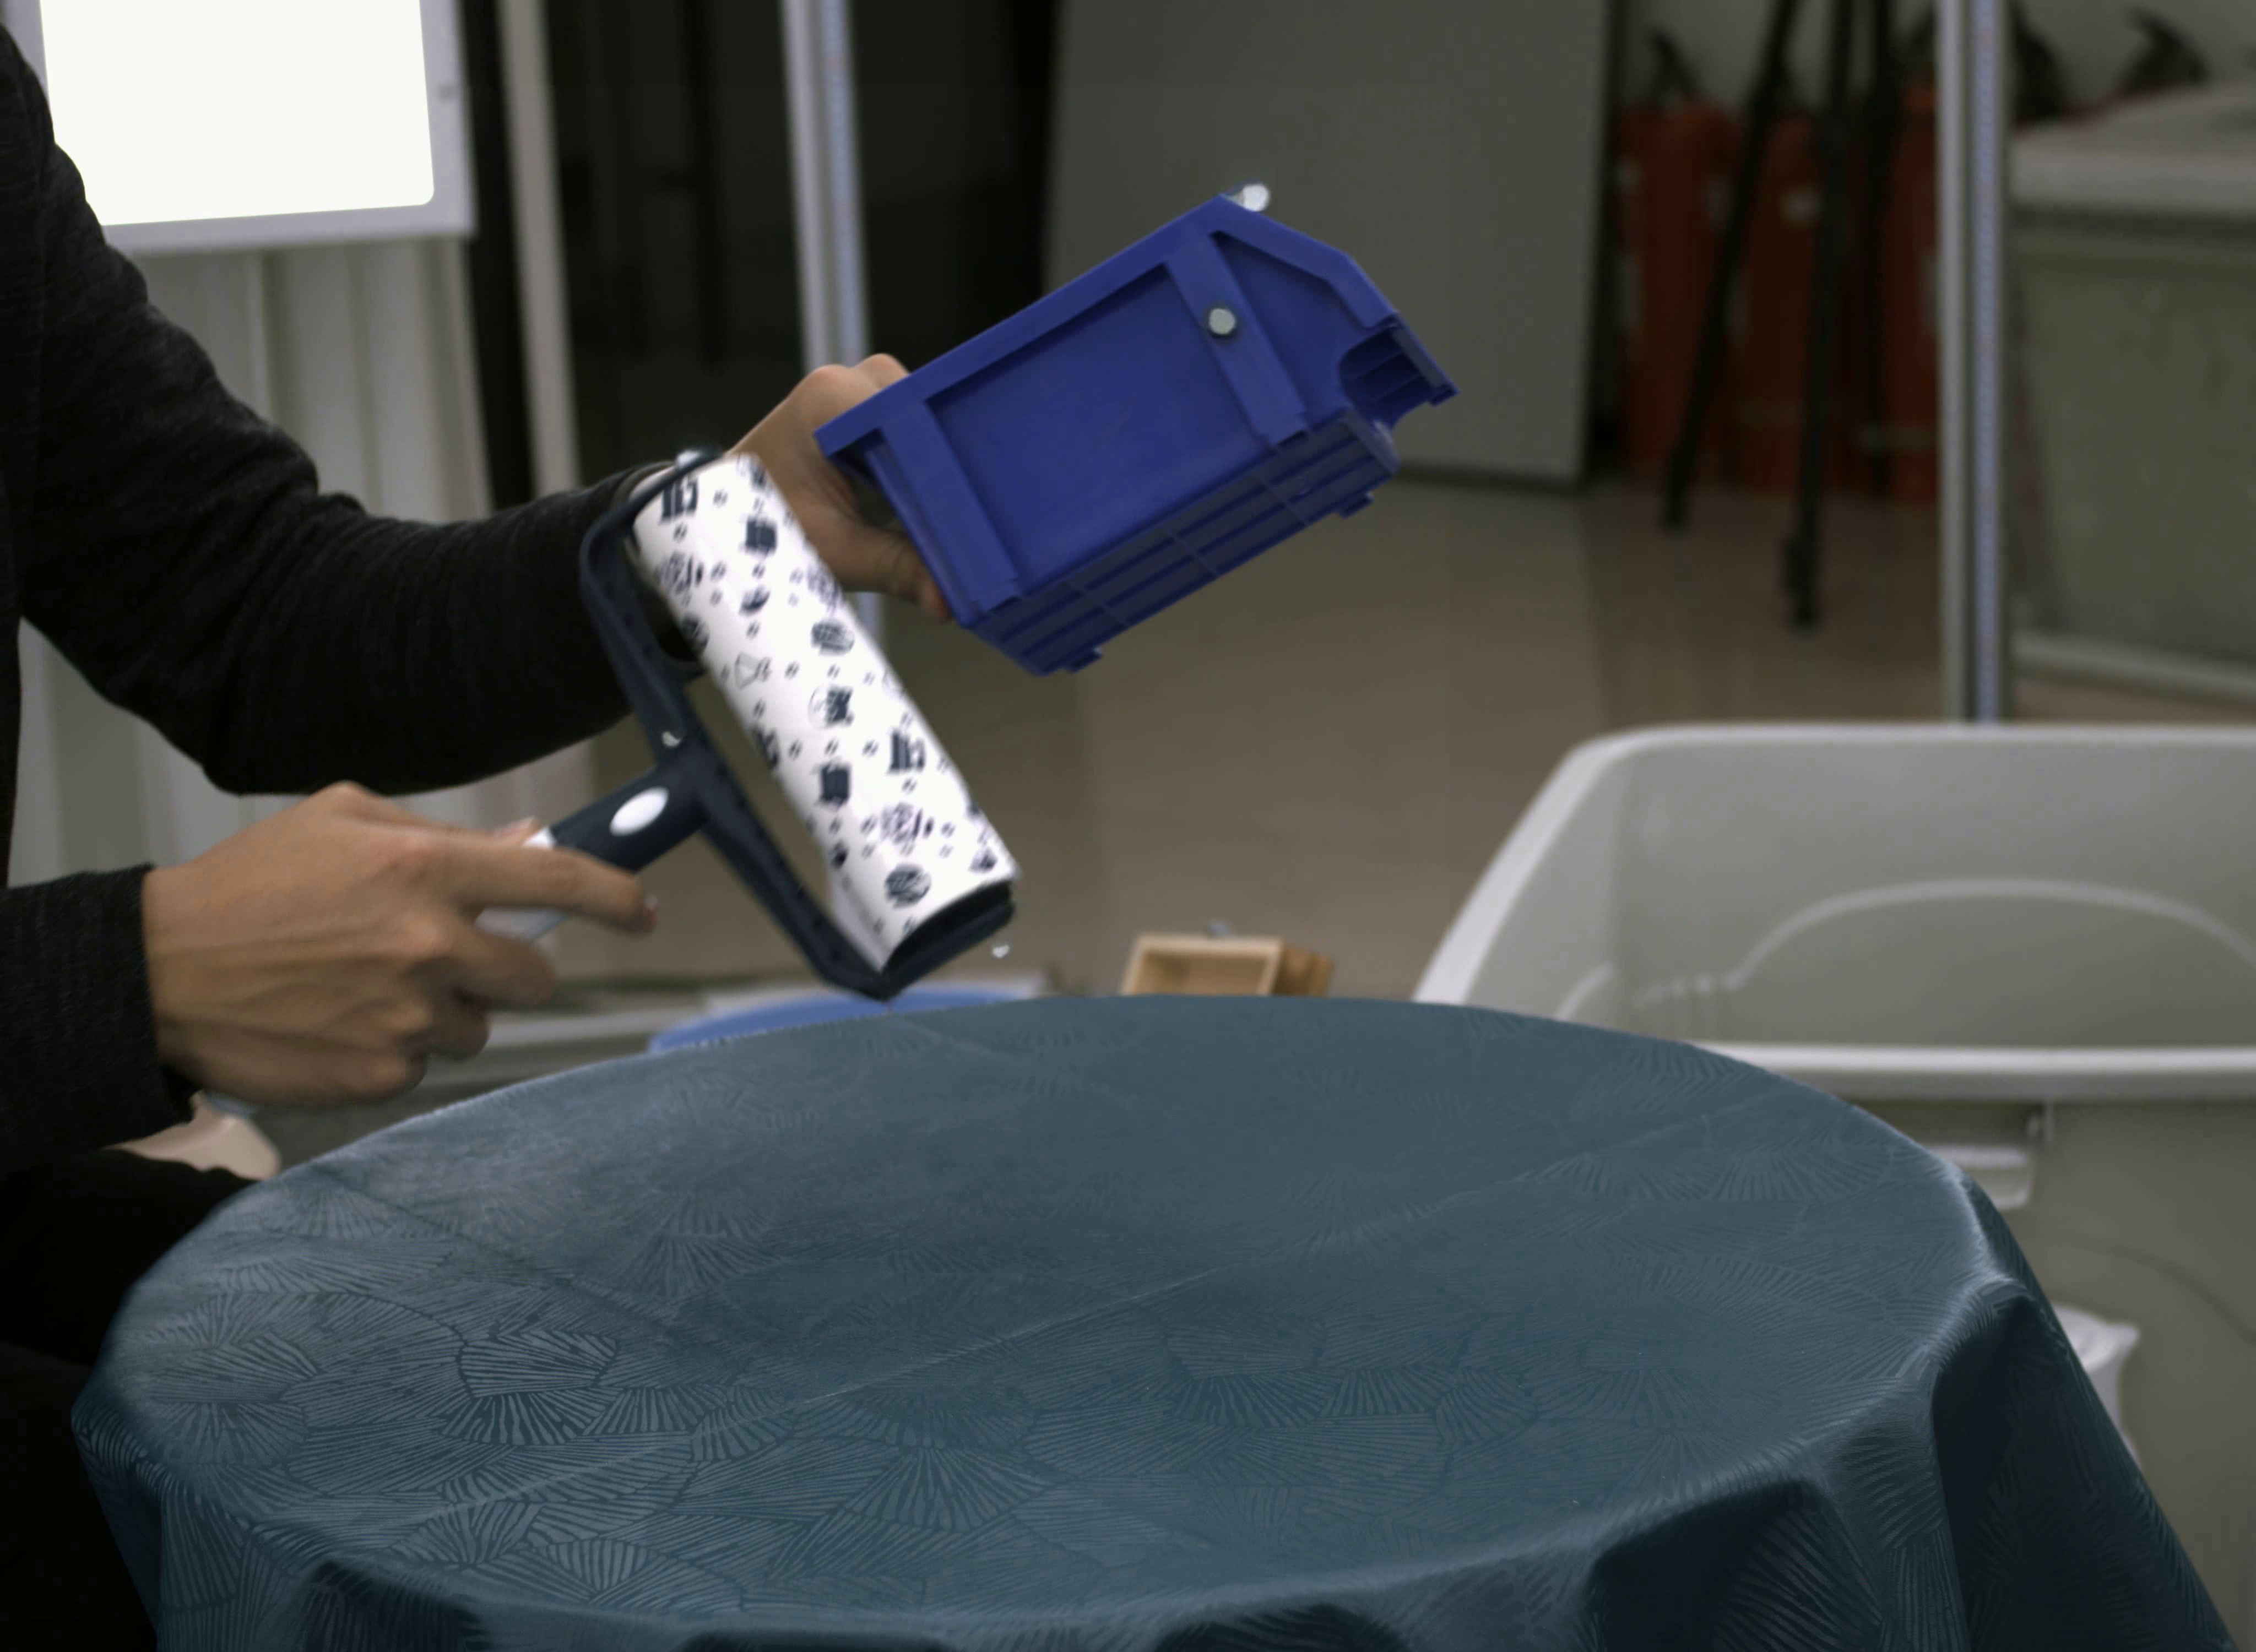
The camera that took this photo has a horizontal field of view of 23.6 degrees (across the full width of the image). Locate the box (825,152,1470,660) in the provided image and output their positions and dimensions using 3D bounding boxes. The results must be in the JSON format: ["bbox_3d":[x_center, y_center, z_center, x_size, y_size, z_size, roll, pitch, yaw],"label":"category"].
[{"bbox_3d":[0.013,-0.134,1.721,0.179,0.083,0.123,-33,-16,9],"label":"box"}]

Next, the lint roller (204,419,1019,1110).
[{"bbox_3d":[-0.175,0.012,1.647,0.245,0.178,0.050,-33,-12,-3],"label":"lint roller"}]
